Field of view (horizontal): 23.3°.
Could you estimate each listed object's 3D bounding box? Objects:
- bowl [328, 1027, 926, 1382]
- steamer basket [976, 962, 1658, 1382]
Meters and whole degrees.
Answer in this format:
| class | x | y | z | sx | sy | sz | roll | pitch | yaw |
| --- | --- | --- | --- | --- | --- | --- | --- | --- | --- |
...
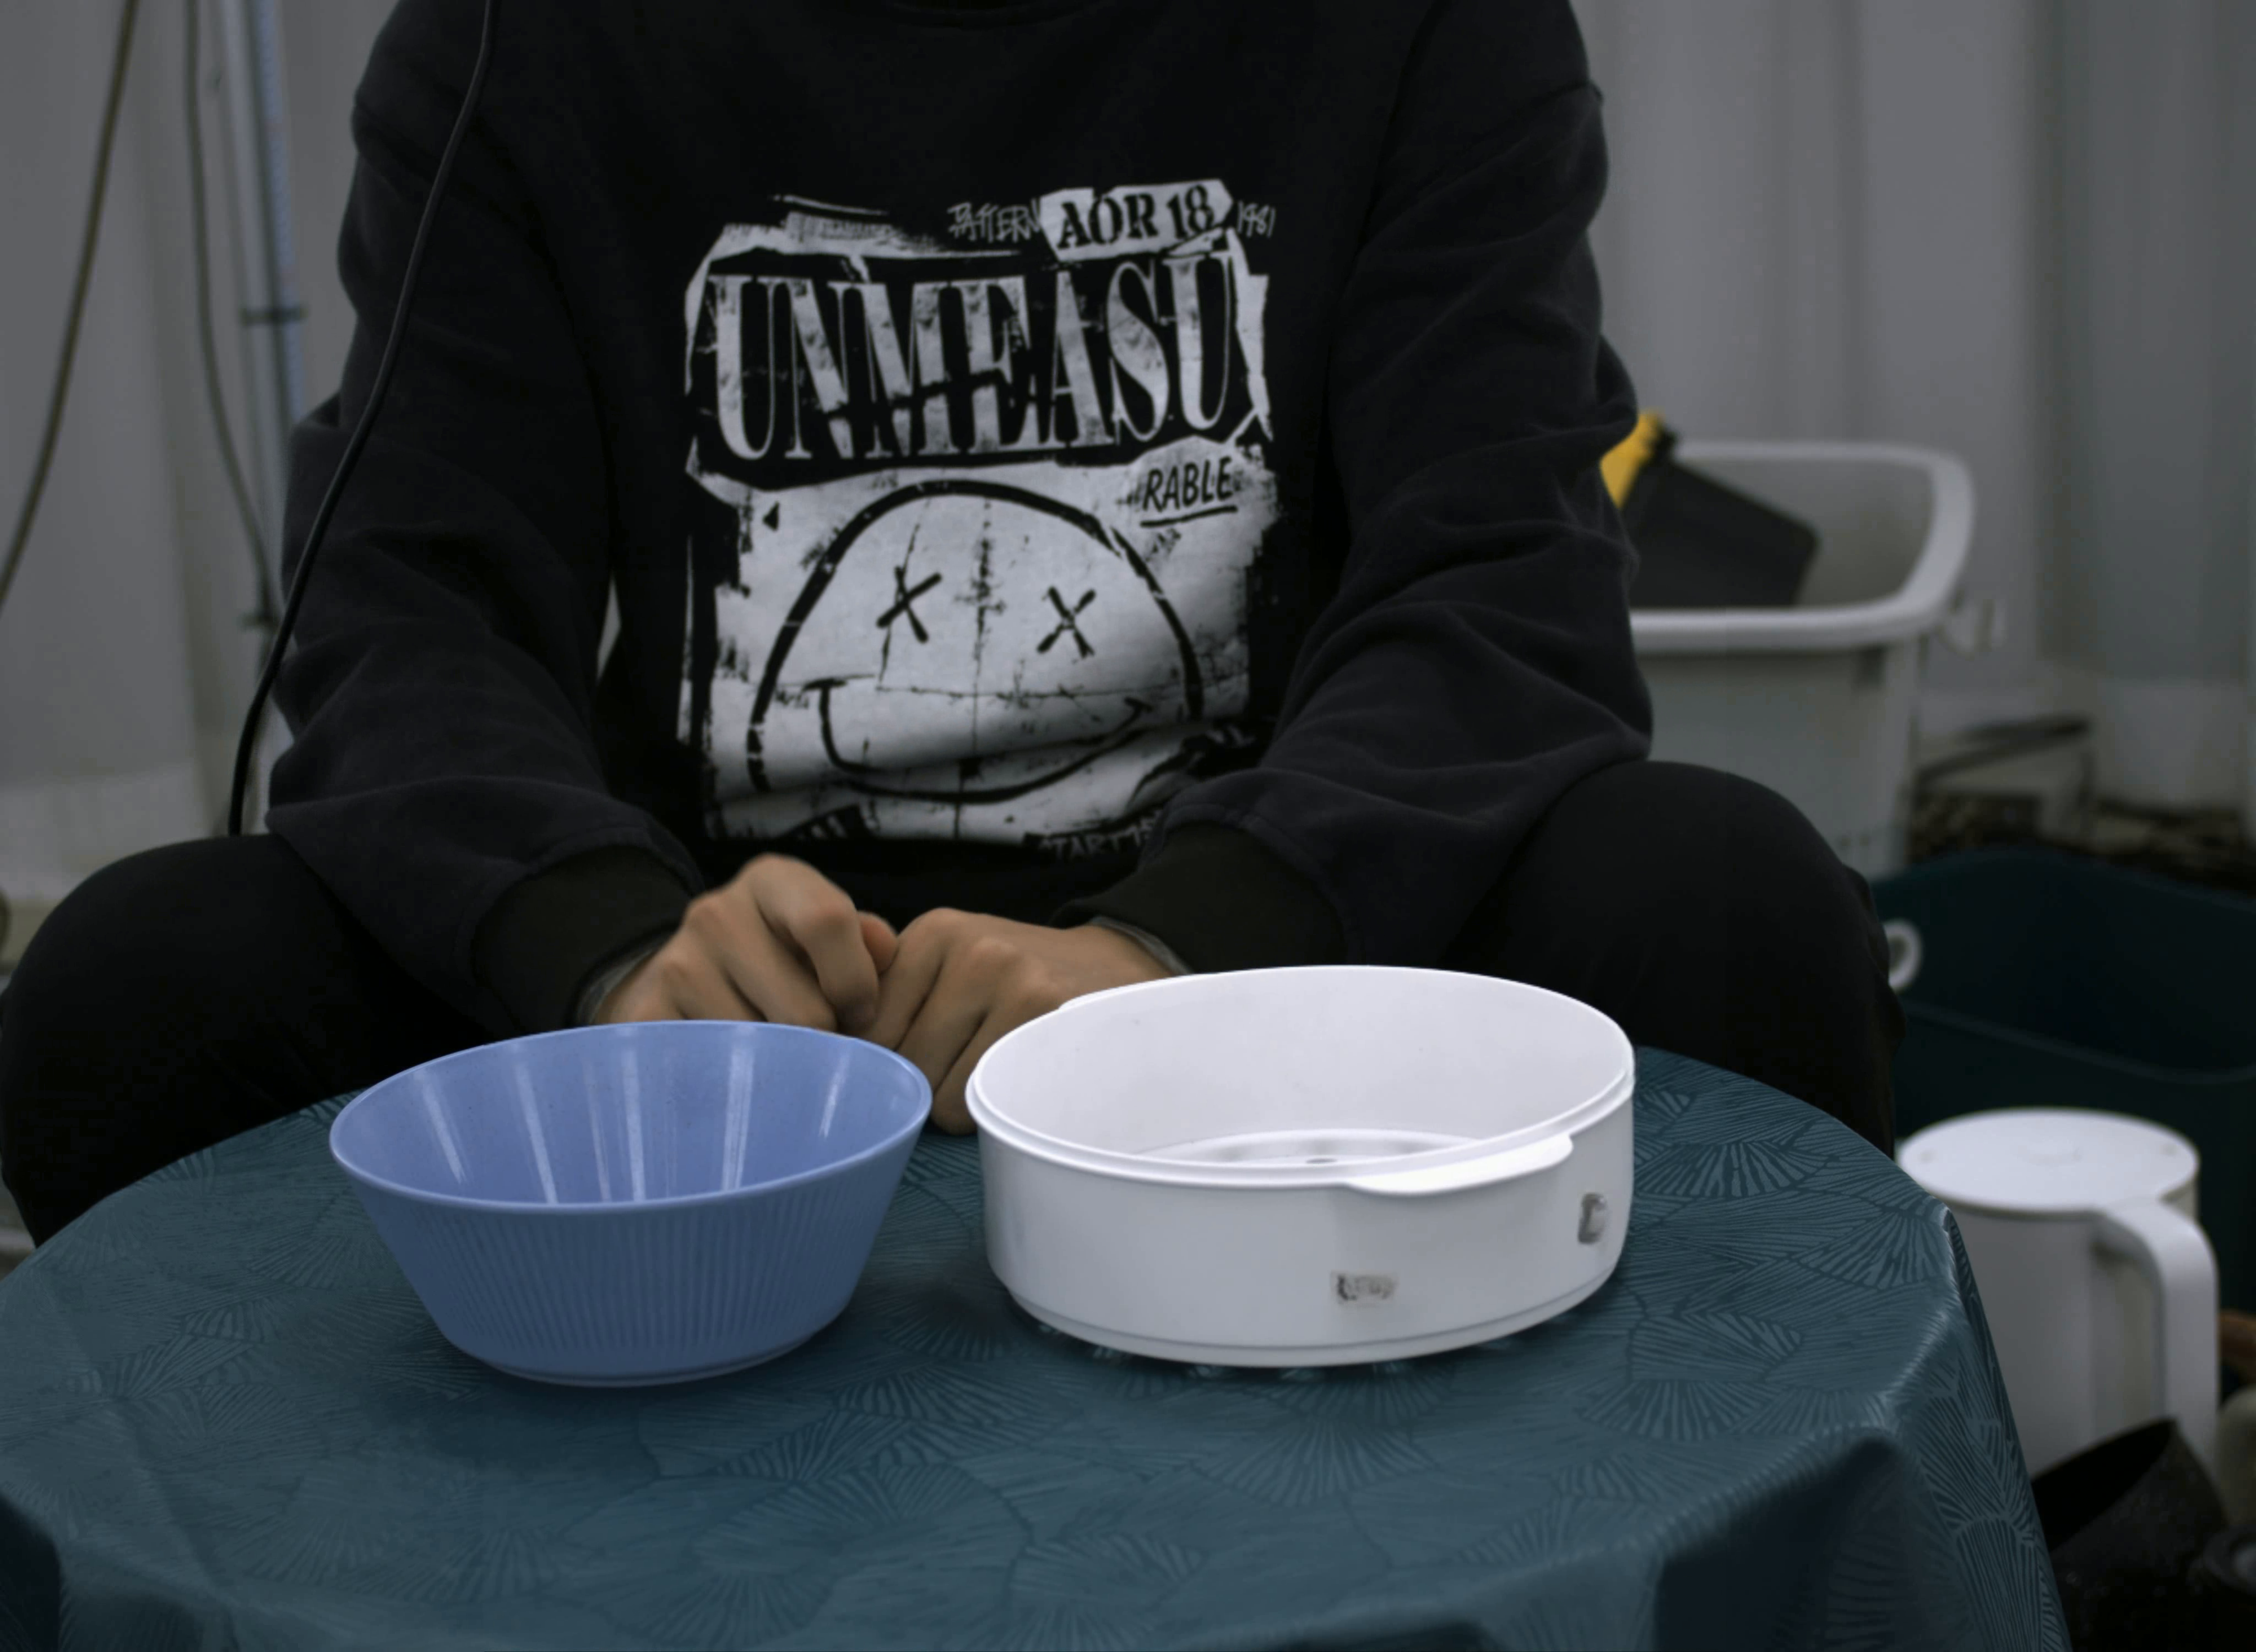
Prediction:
| class | x | y | z | sx | sy | sz | roll | pitch | yaw |
| --- | --- | --- | --- | --- | --- | --- | --- | --- | --- |
| bowl | -0.145 | 0.114 | 1.609 | 0.175 | 0.070 | 0.177 | -2 | 14 | 0 |
| steamer basket | 0.056 | 0.102 | 1.620 | 0.201 | 0.069 | 0.232 | -9 | 18 | -25 |
